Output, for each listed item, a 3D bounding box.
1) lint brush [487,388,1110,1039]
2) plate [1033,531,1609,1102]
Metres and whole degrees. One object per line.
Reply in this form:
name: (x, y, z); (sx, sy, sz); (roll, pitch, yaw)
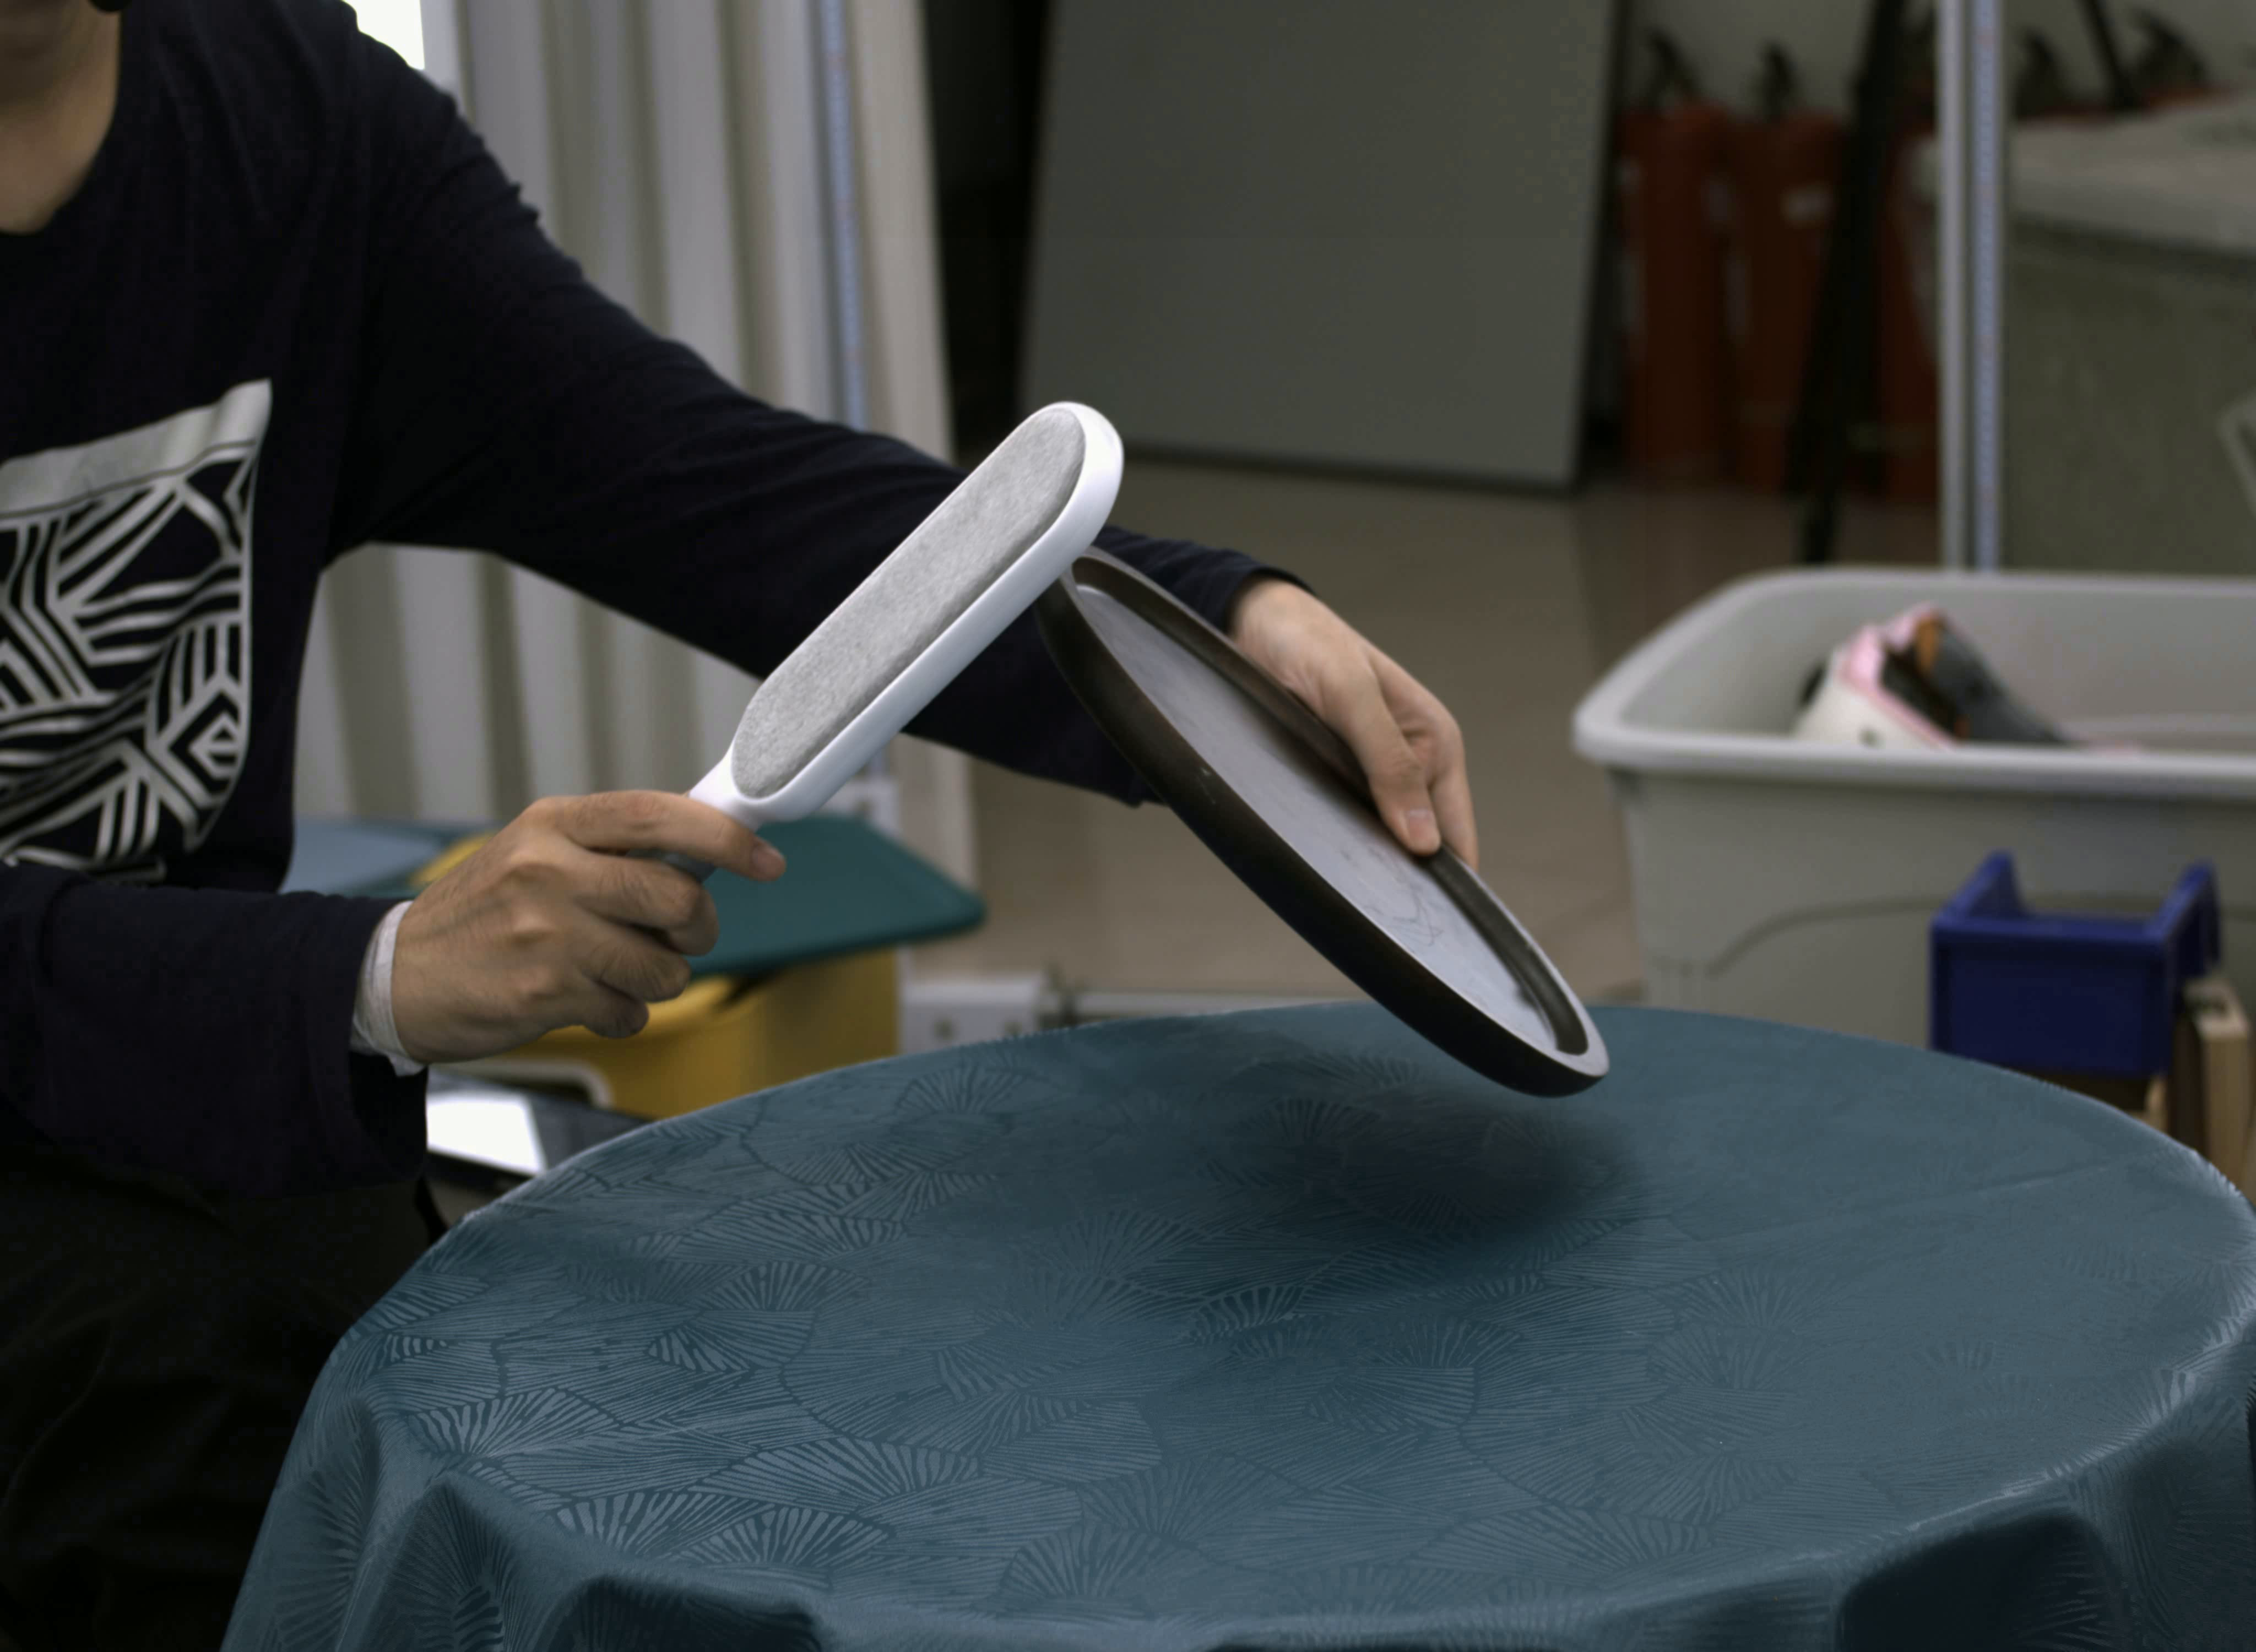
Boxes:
lint brush: (-0.109, -0.030, 1.719); (0.020, 0.311, 0.061); (23, 36, -36)
plate: (0.061, -0.002, 1.755); (0.029, 0.253, 0.255); (-45, 9, 9)
